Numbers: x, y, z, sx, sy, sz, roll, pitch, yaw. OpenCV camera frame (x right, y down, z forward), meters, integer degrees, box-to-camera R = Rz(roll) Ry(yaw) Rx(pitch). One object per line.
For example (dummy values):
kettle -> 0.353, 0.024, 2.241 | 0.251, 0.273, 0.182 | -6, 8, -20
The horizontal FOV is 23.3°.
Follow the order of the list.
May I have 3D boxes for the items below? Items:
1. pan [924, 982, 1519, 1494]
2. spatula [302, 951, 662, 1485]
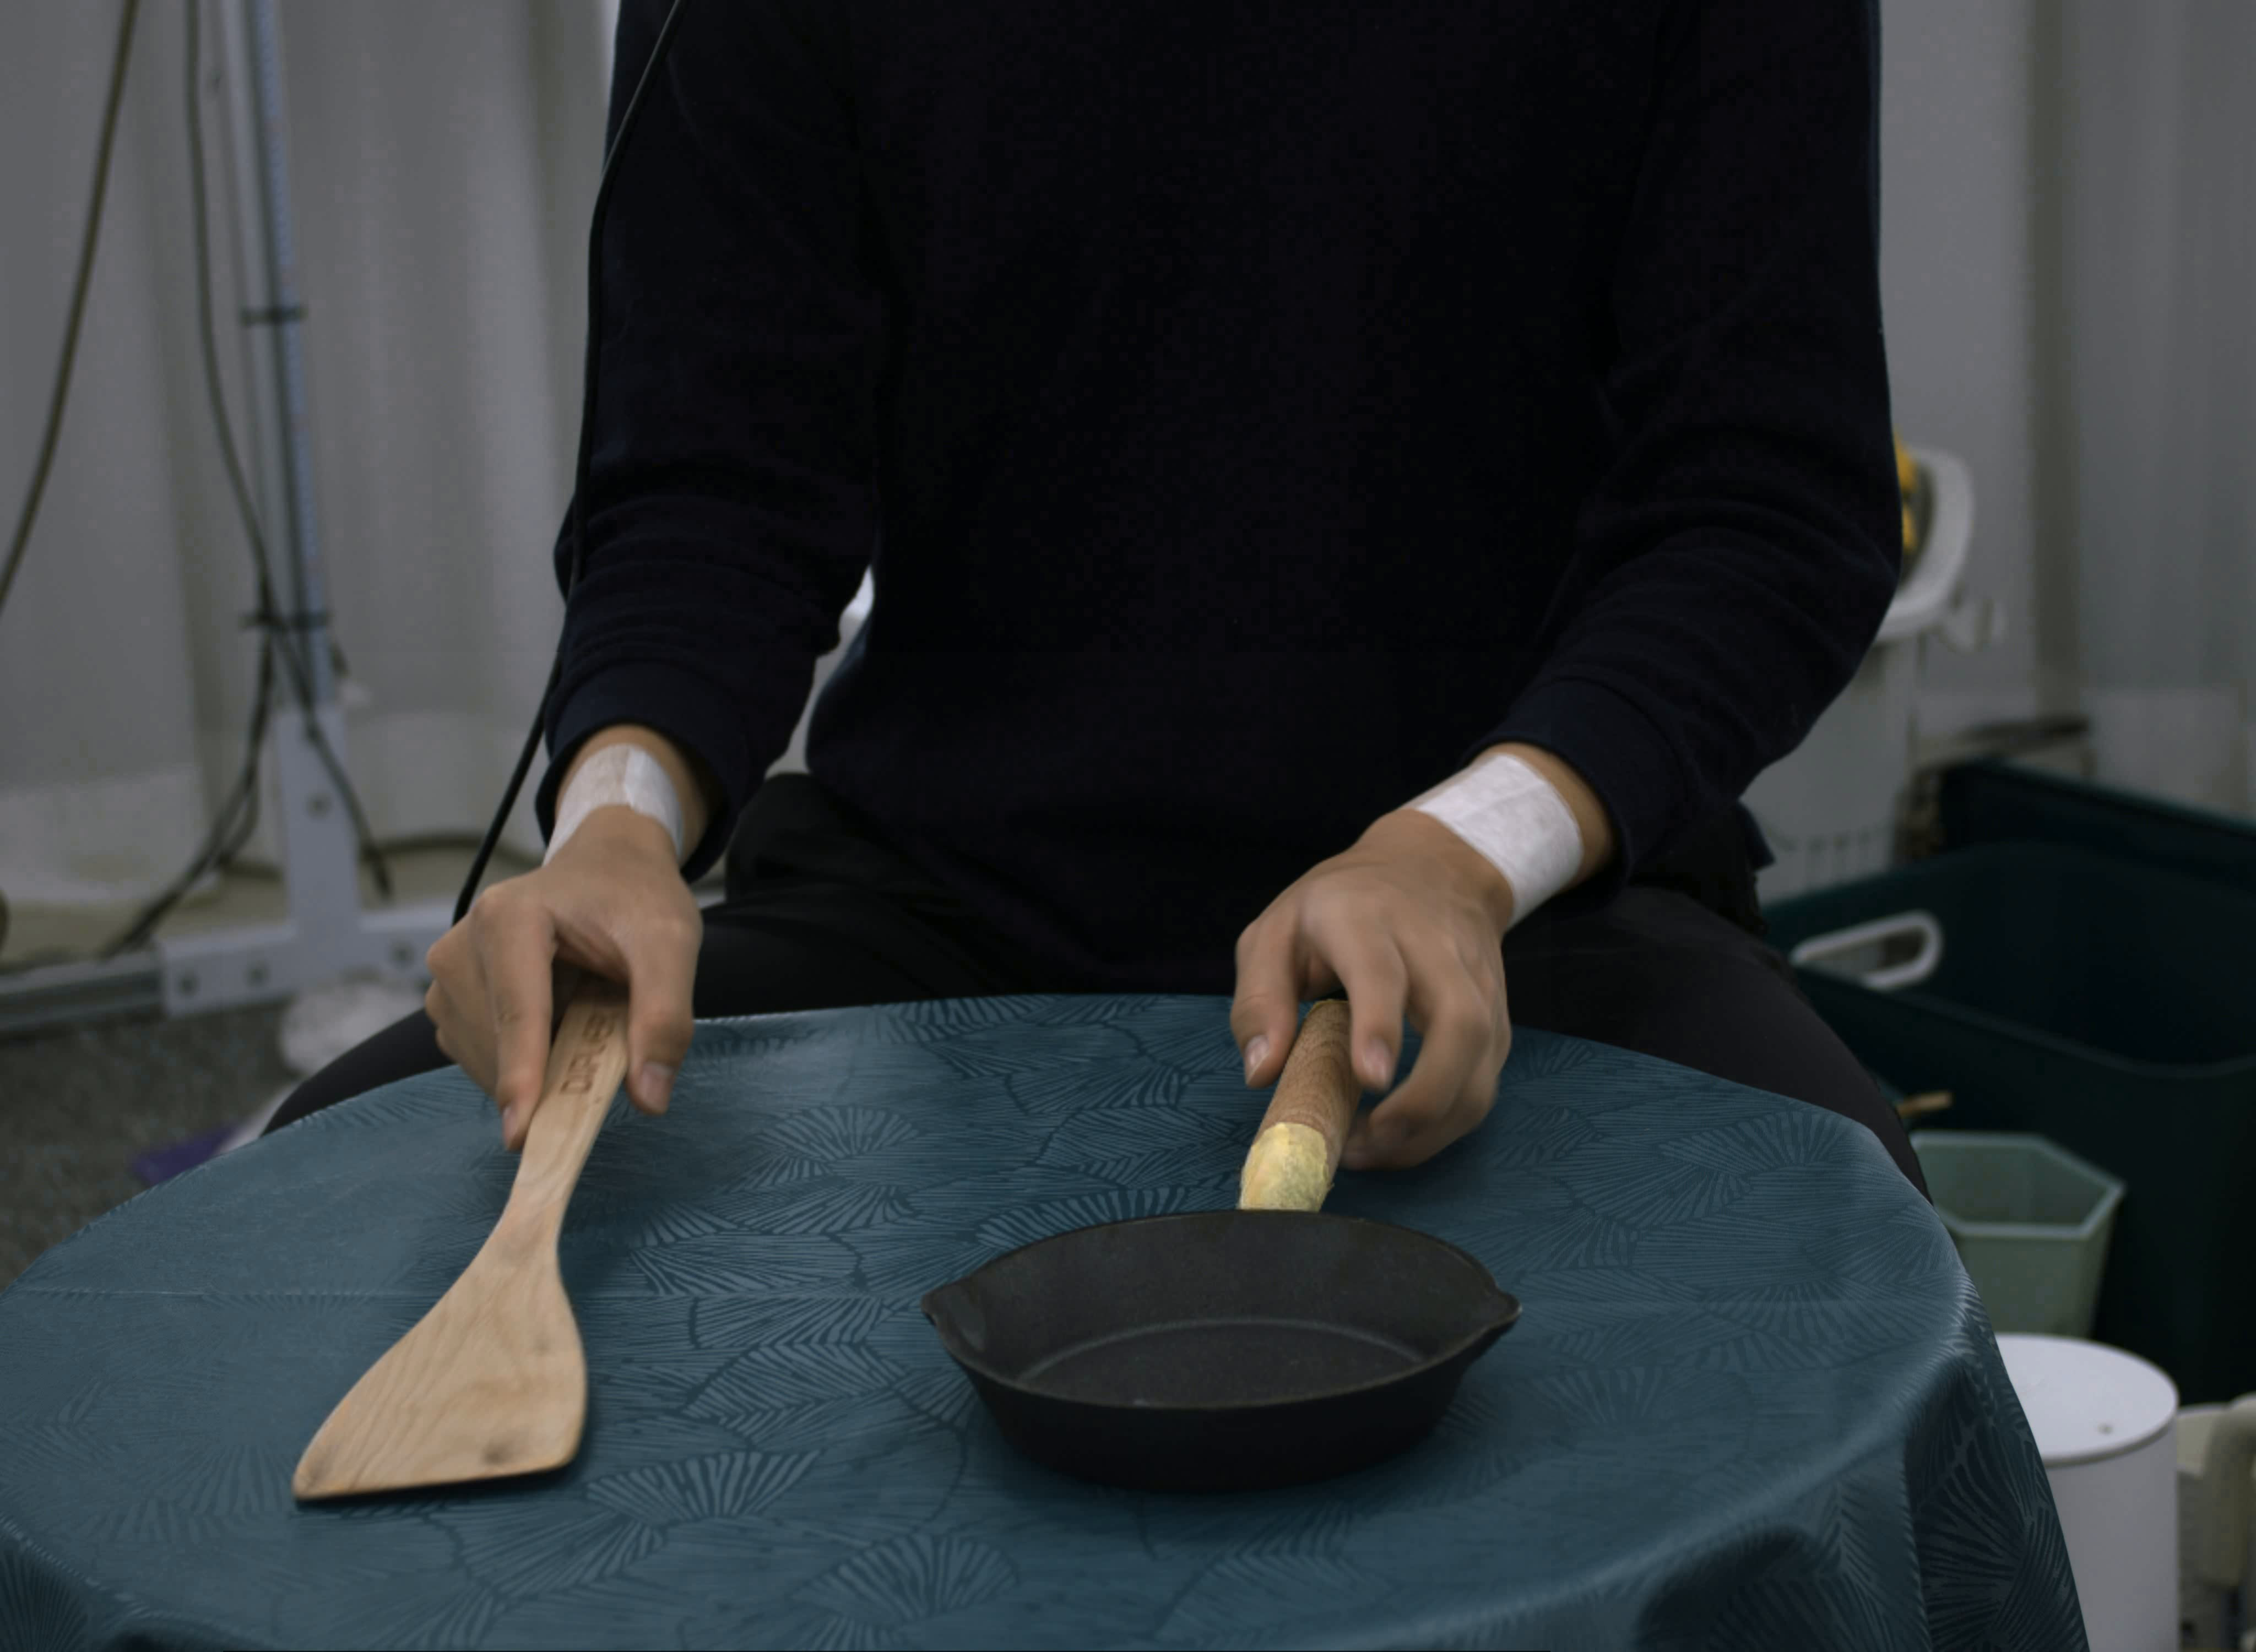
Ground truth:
pan -> 0.044, 0.117, 1.601 | 0.169, 0.049, 0.326 | 0, 17, 13
spatula -> -0.175, 0.112, 1.633 | 0.080, 0.016, 0.331 | 0, 26, 5
